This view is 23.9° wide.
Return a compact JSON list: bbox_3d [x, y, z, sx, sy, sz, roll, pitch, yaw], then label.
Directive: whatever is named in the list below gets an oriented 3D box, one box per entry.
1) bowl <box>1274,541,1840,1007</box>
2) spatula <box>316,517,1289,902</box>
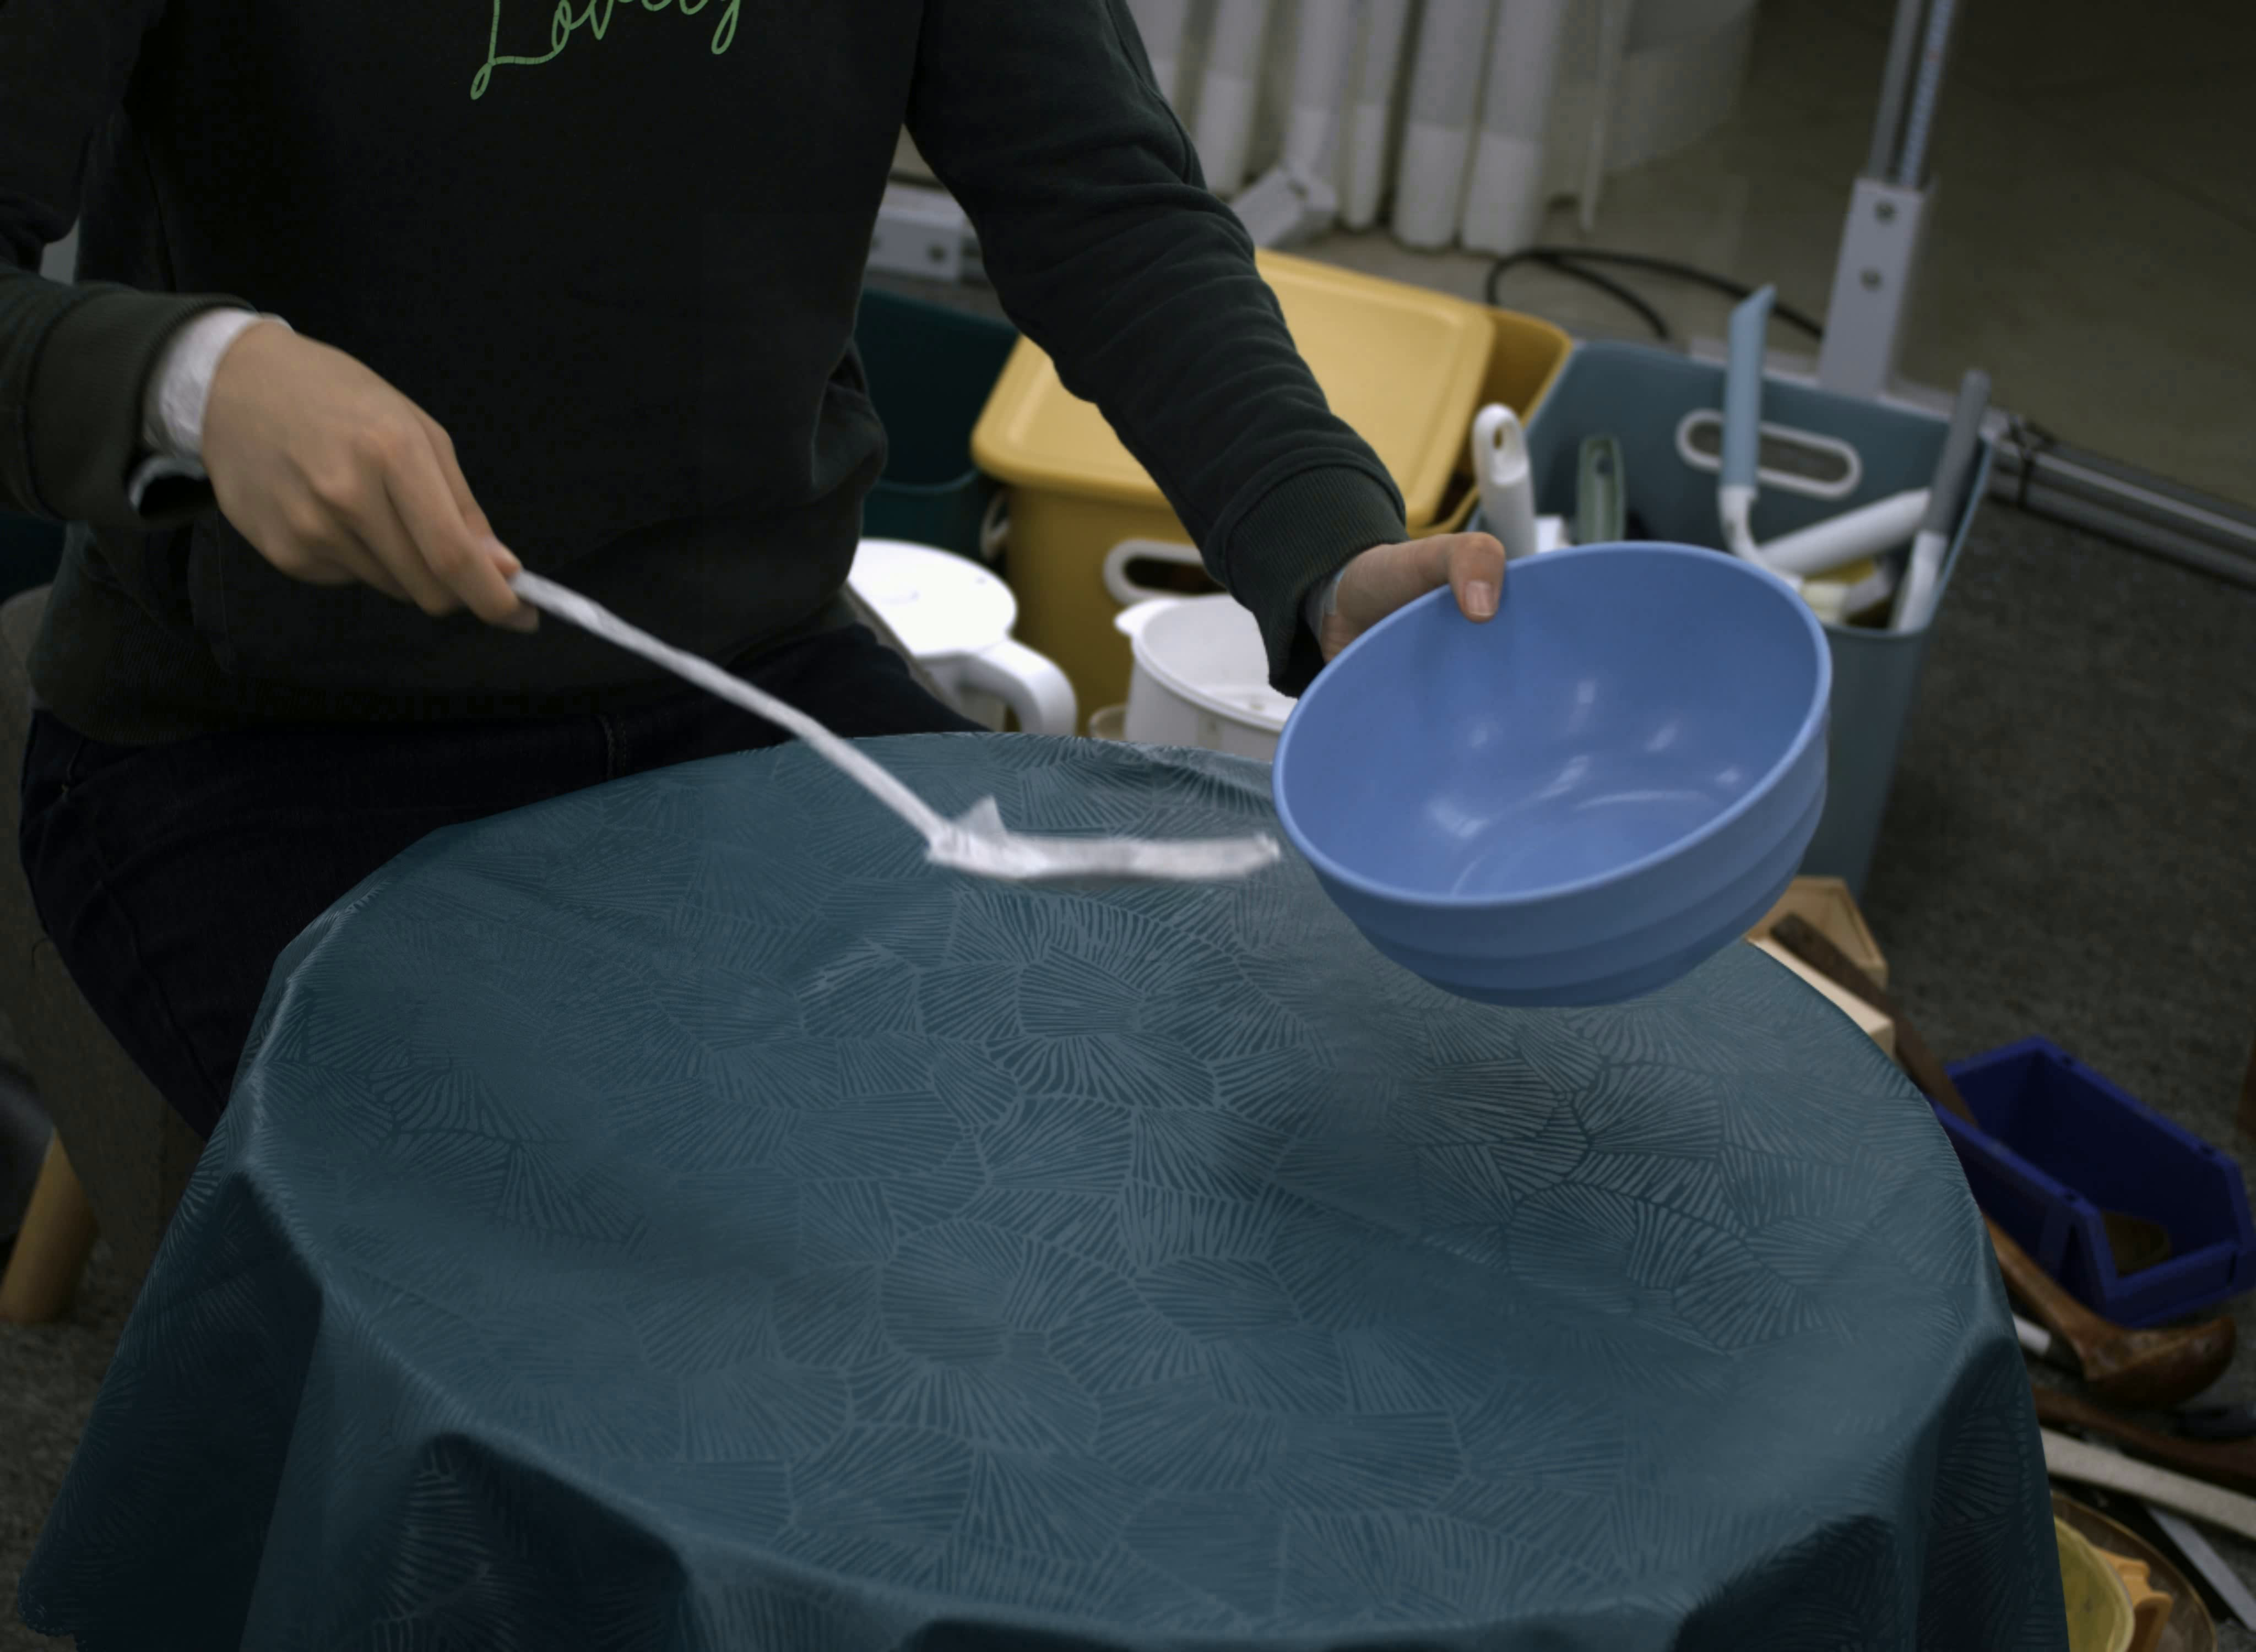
[{"bbox_3d":[0.156,-0.002,1.832,0.196,0.095,0.198,-13,35,9],"label":"bowl"},{"bbox_3d":[-0.118,-0.042,1.682,0.367,0.045,0.098,27,18,23],"label":"spatula"}]
